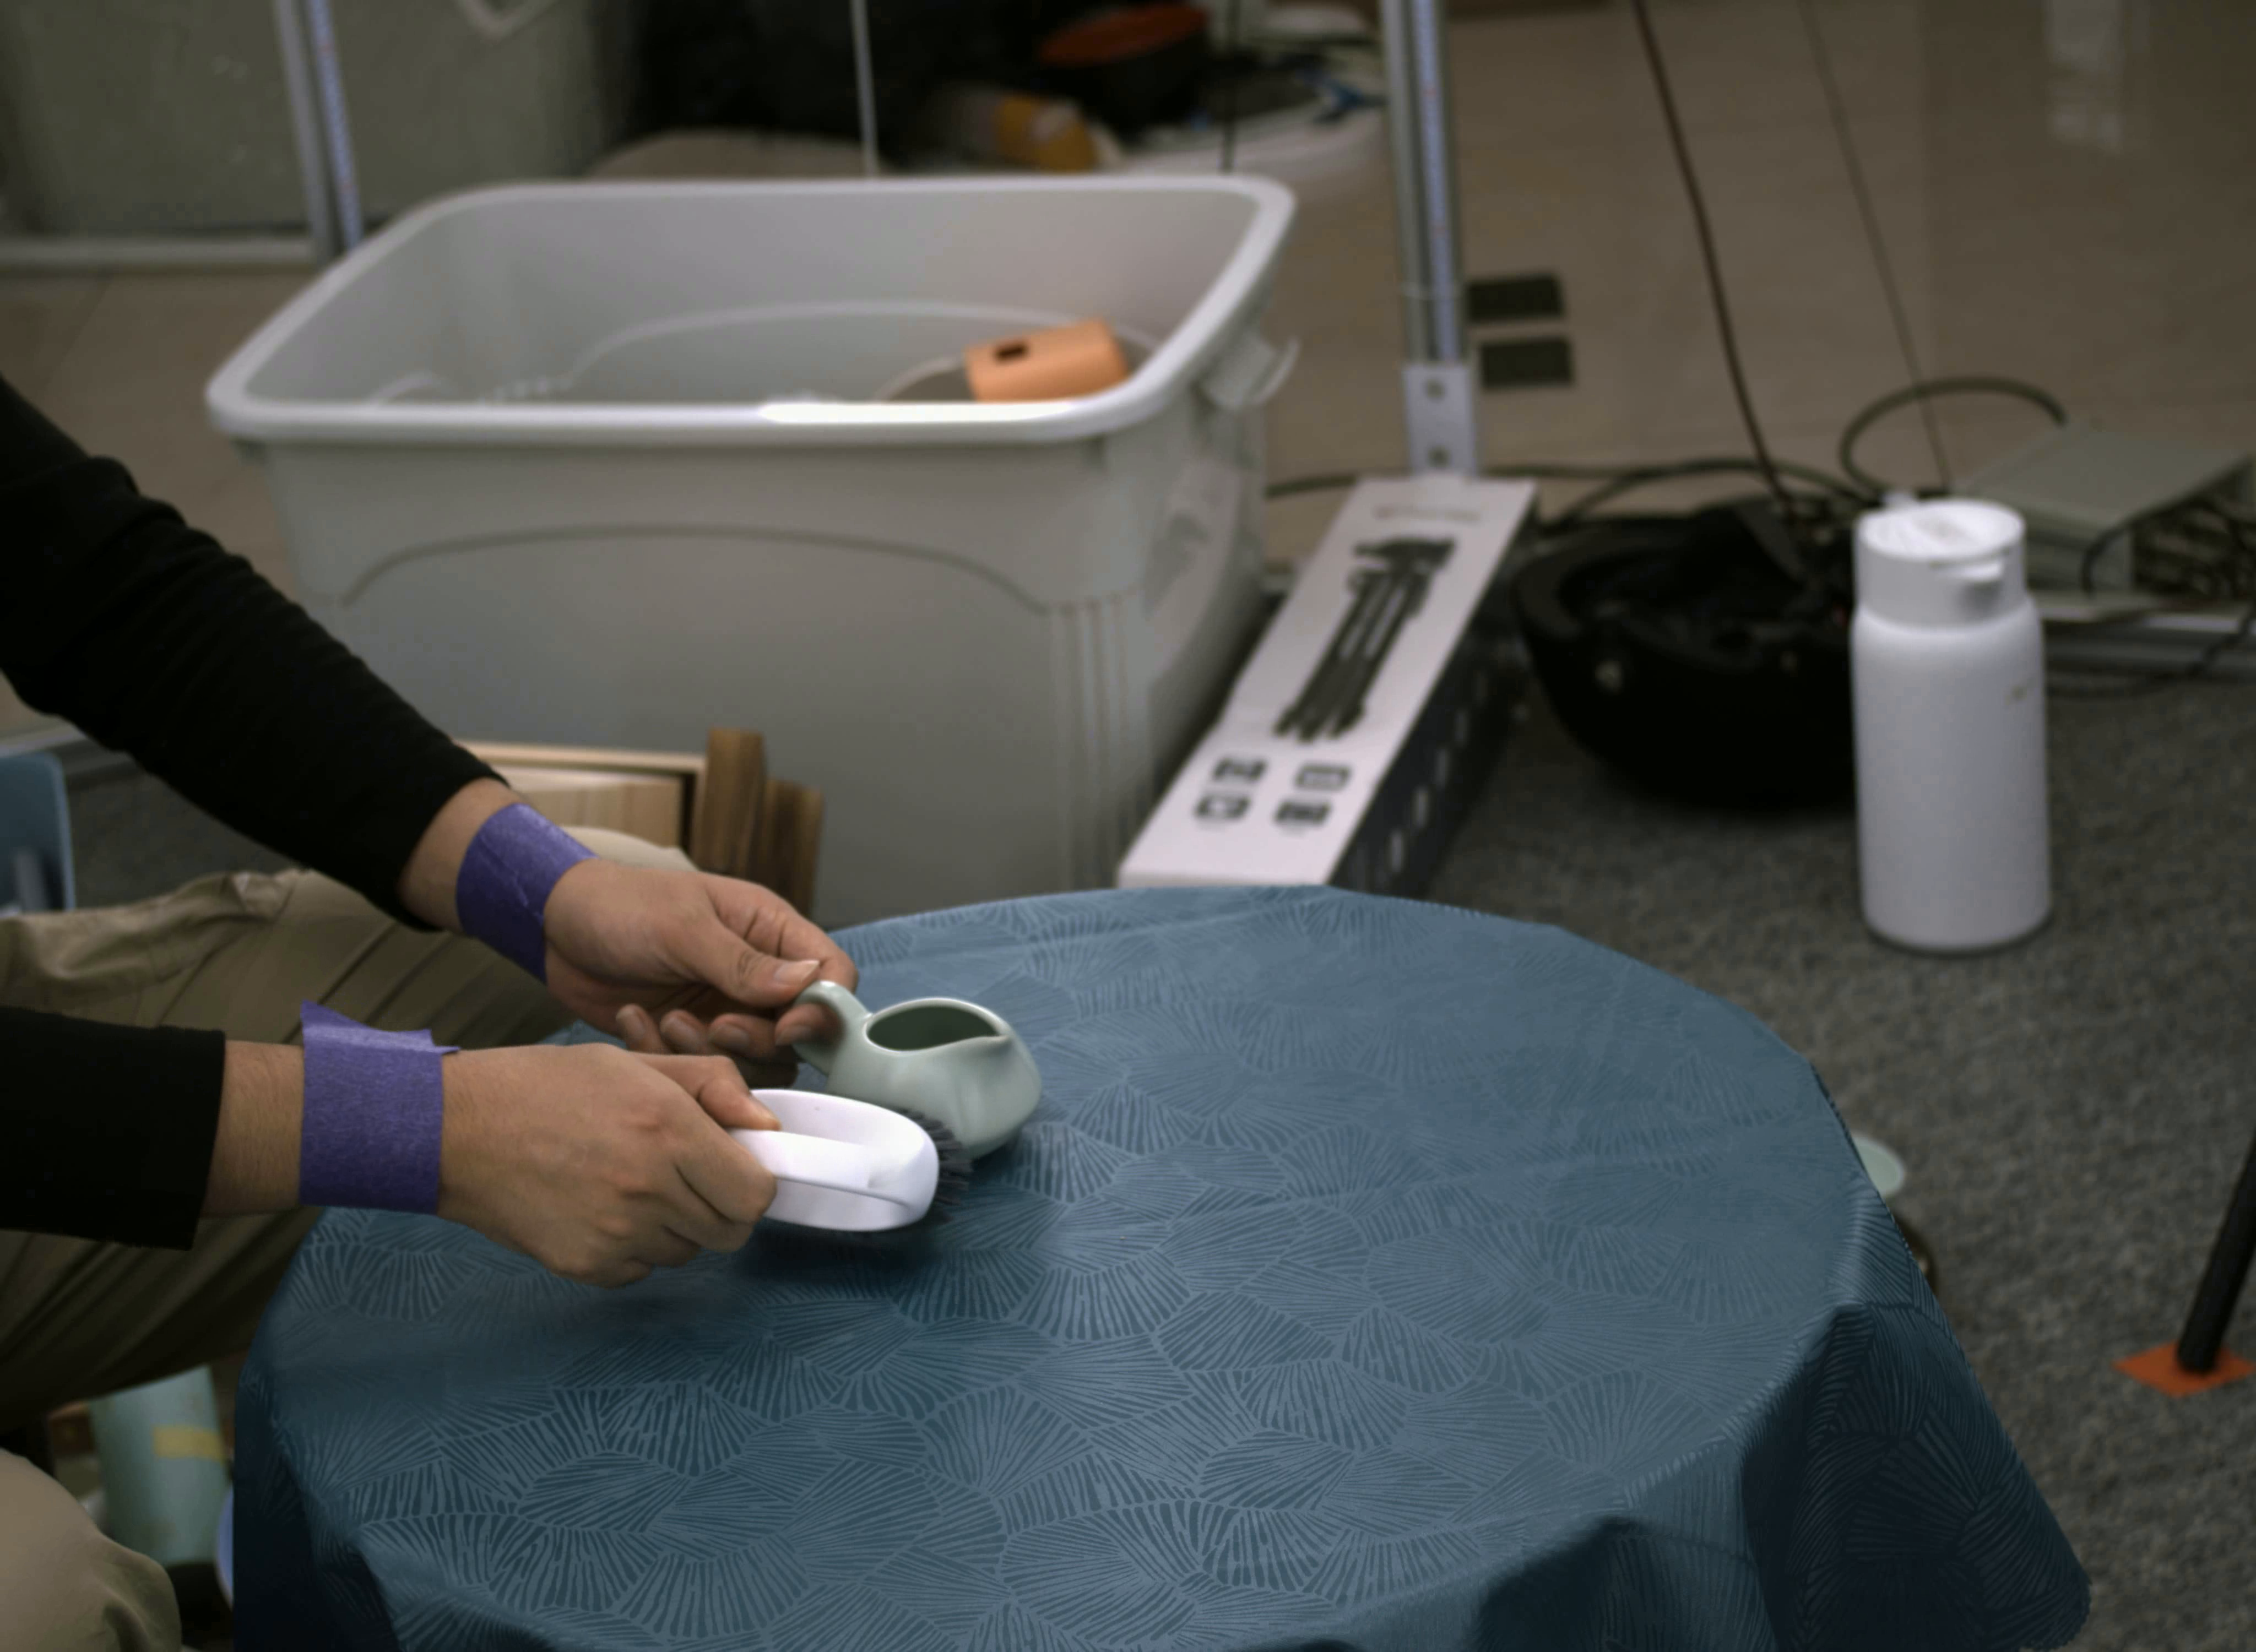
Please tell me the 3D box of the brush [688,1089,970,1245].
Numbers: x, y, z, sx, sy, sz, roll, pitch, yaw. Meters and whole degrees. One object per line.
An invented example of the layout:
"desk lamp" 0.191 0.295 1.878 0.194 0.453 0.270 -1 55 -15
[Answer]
"brush" -0.117 0.125 2.103 0.099 0.050 0.073 11 -1 24

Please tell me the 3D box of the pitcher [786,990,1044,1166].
"pitcher" -0.086 0.096 2.191 0.107 0.061 0.085 7 26 31
